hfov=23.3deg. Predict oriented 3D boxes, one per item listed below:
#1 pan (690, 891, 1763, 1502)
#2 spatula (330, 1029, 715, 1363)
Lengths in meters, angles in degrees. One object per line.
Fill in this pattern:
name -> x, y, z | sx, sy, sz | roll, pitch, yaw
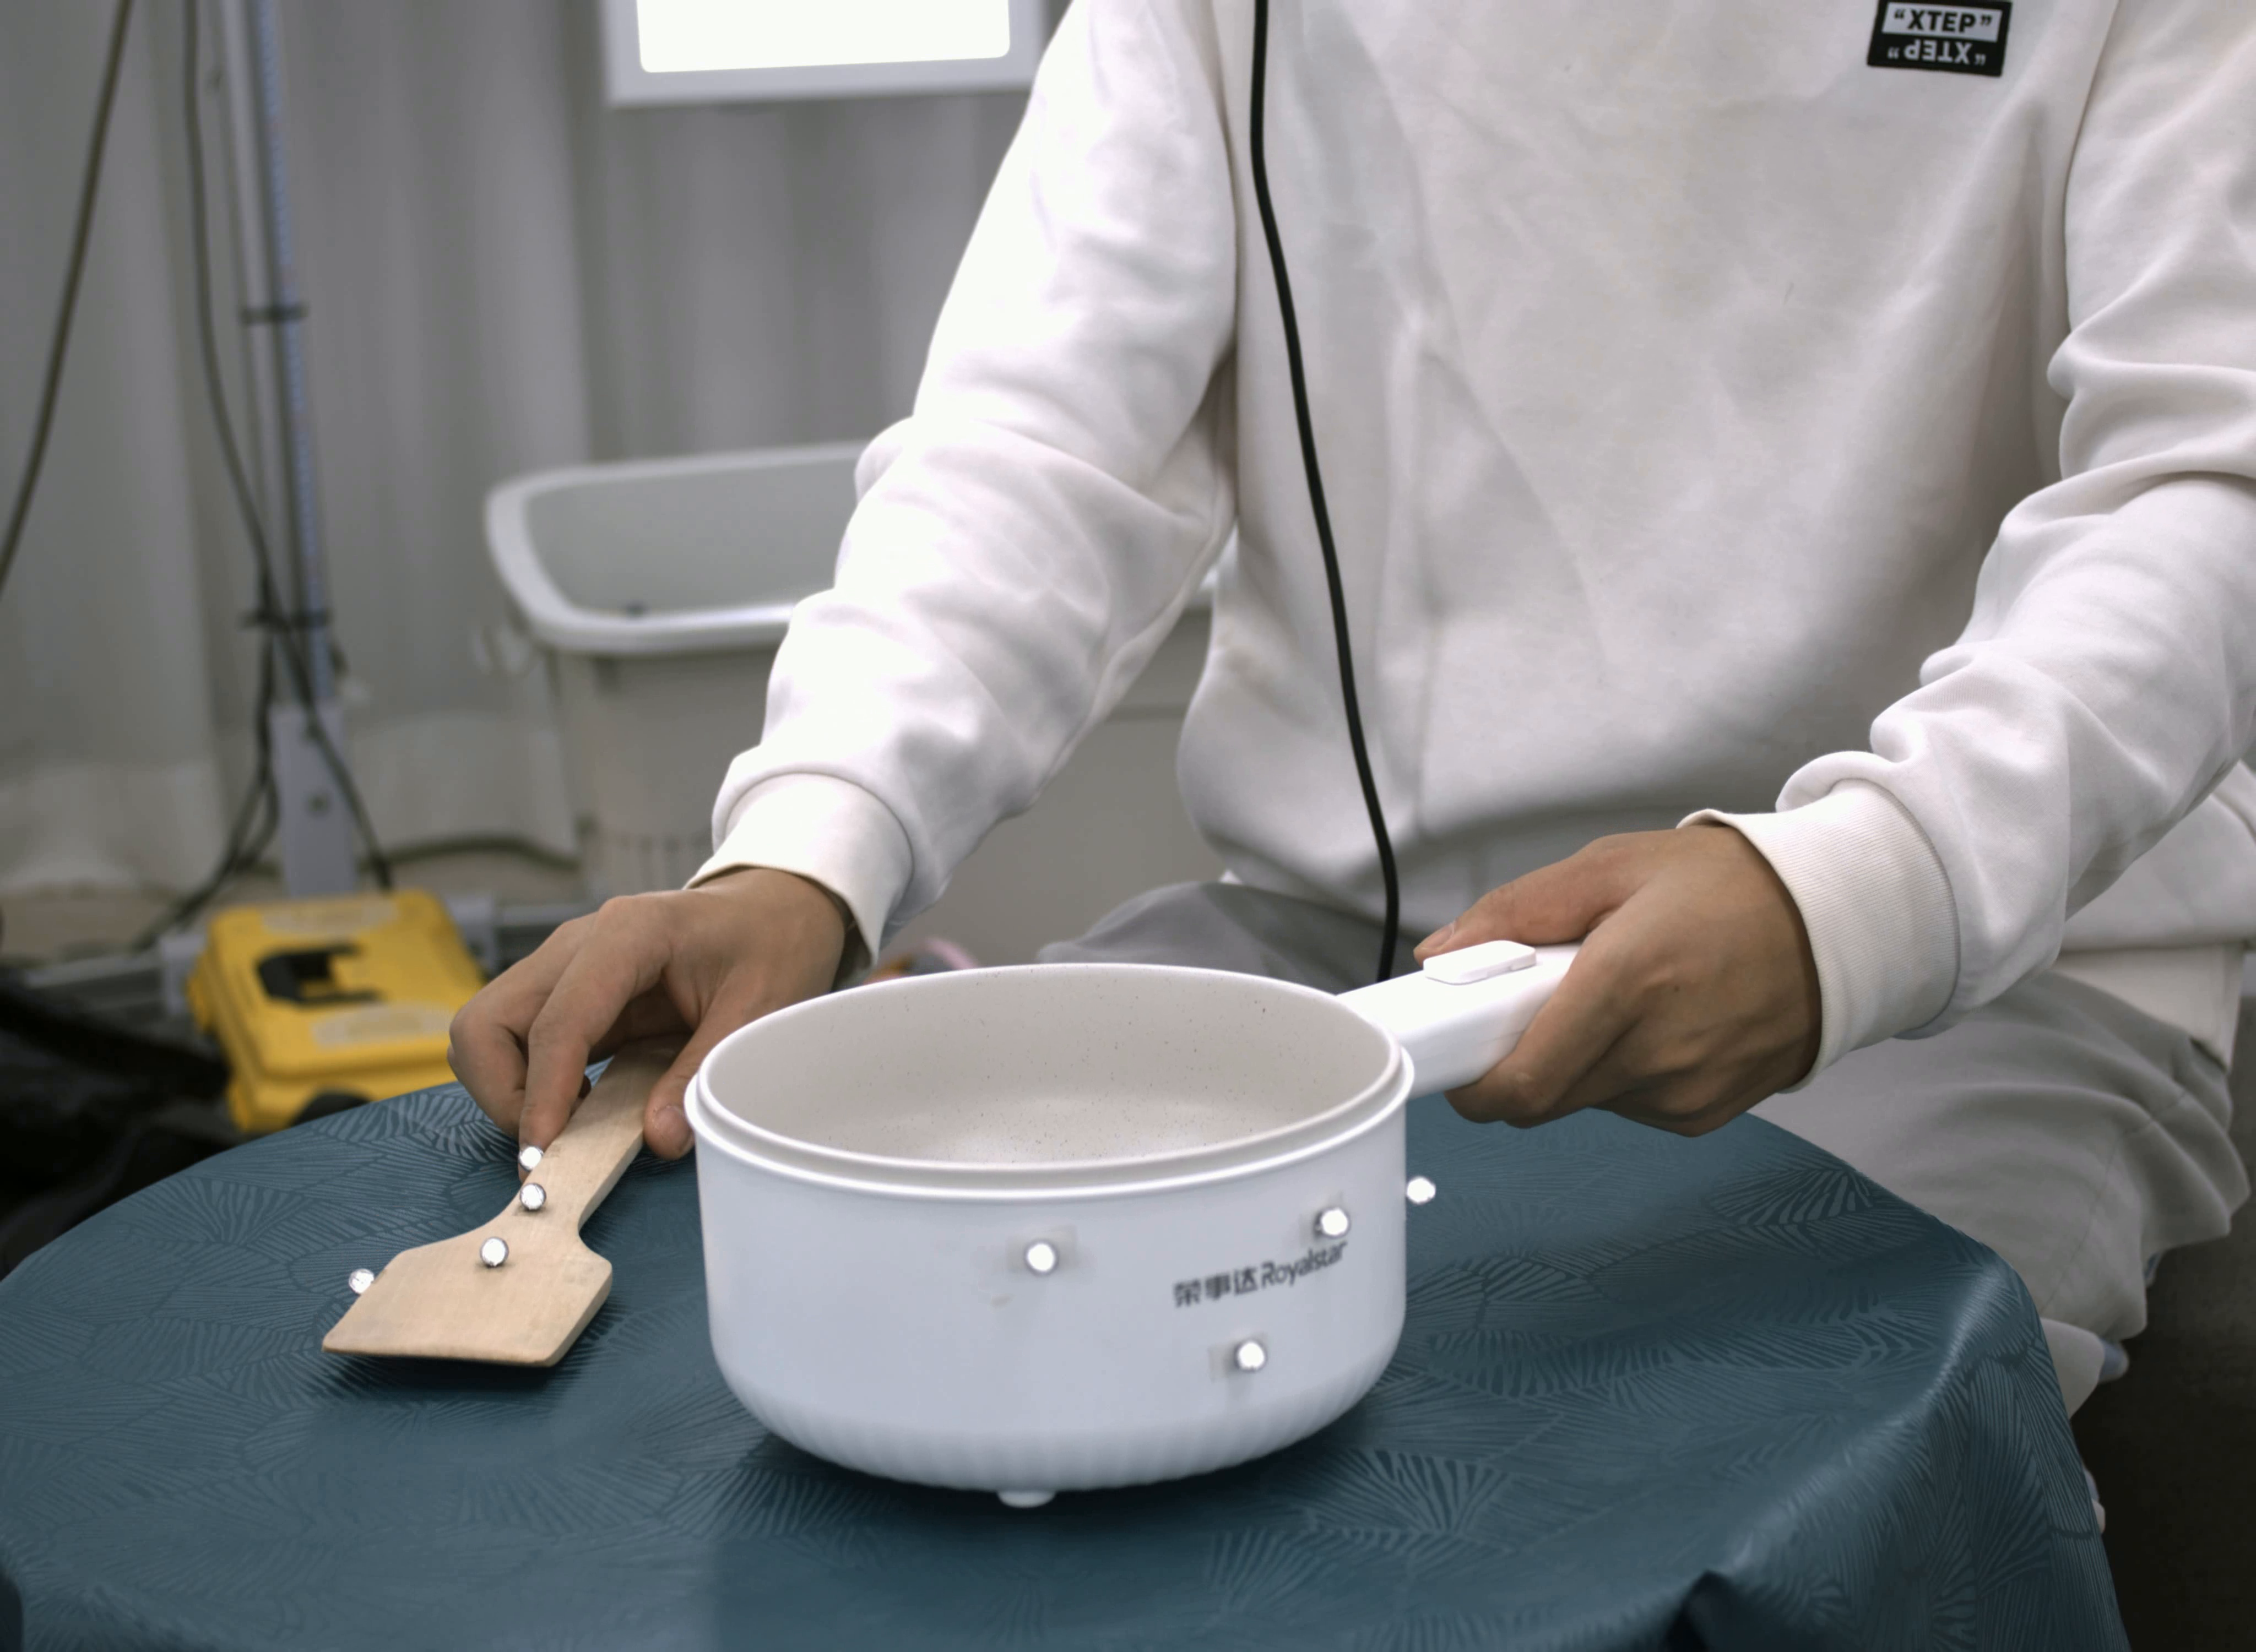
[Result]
pan -> 0.041, 0.098, 1.562 | 0.353, 0.102, 0.202 | -12, 18, -37
spatula -> -0.176, 0.113, 1.711 | 0.072, 0.010, 0.295 | 2, 17, 9
